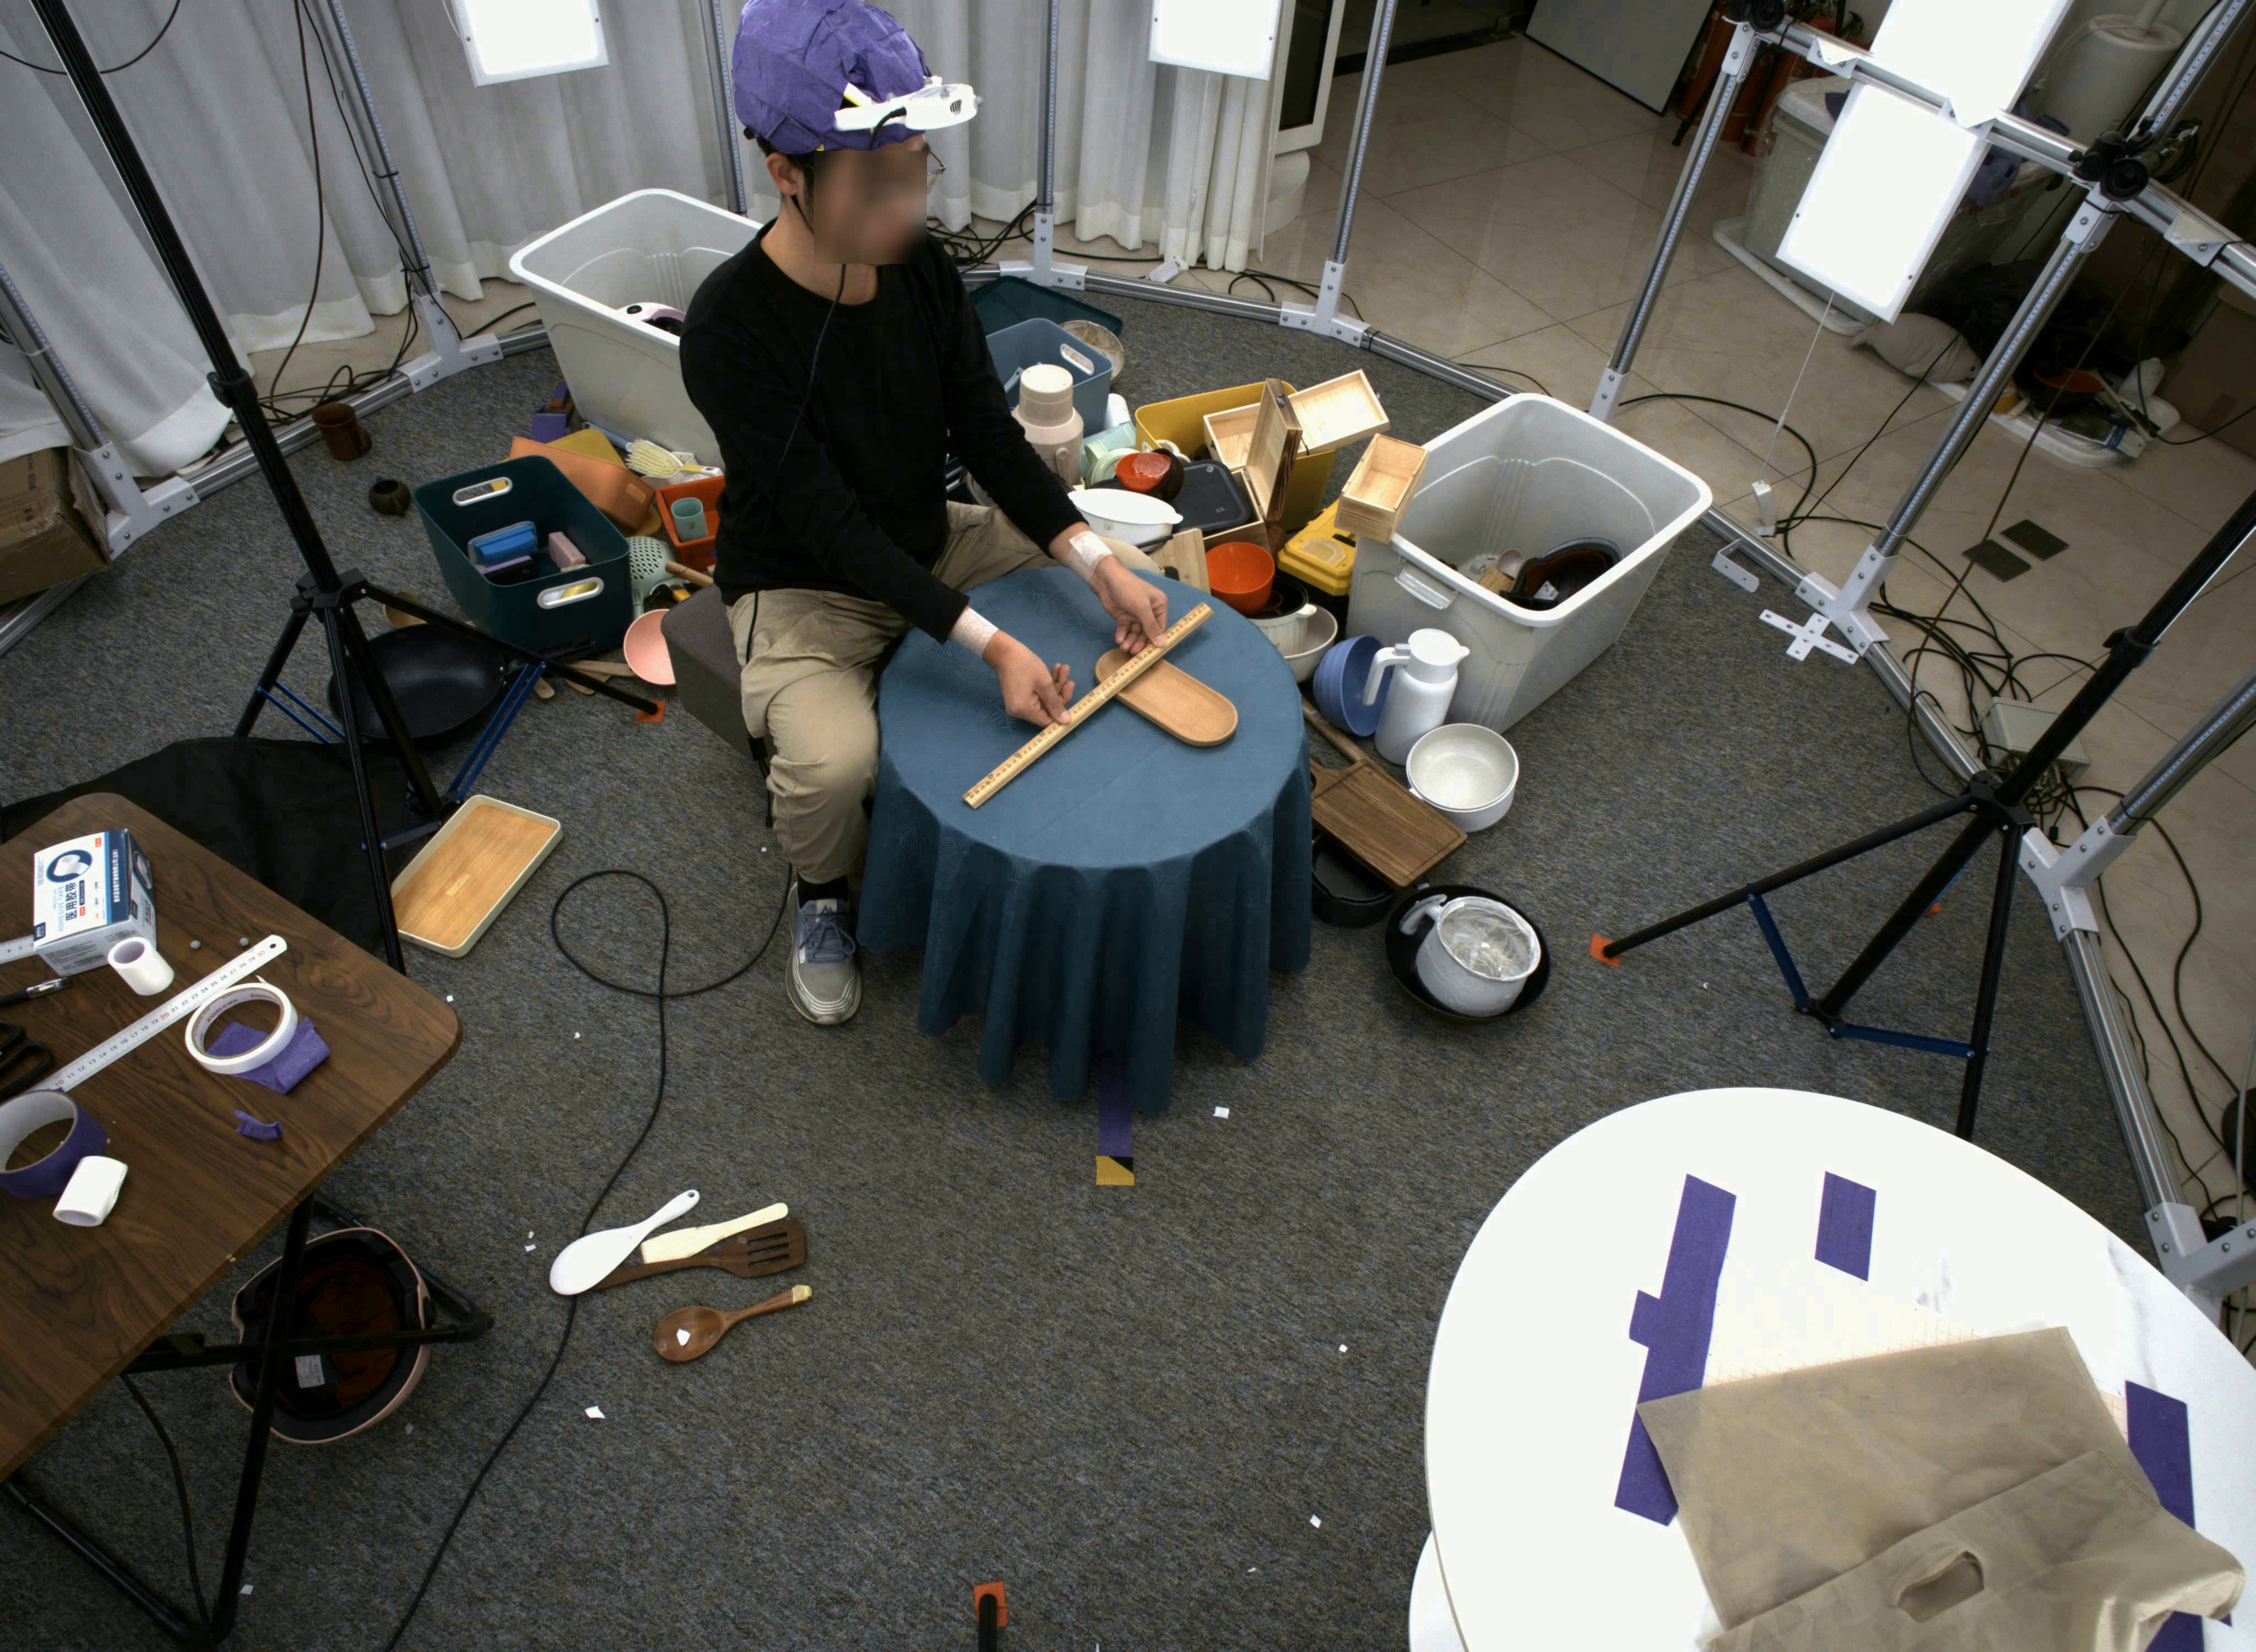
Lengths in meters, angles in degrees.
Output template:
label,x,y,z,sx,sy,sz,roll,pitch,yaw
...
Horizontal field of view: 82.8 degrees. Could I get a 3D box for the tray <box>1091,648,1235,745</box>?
label,x,y,z,sx,sy,sz,roll,pitch,yaw
tray,0.048,-0.186,1.824,0.234,0.020,0.103,32,53,24

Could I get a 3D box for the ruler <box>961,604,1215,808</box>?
label,x,y,z,sx,sy,sz,roll,pitch,yaw
ruler,-0.045,-0.178,1.798,0.027,0.006,0.506,42,61,13
